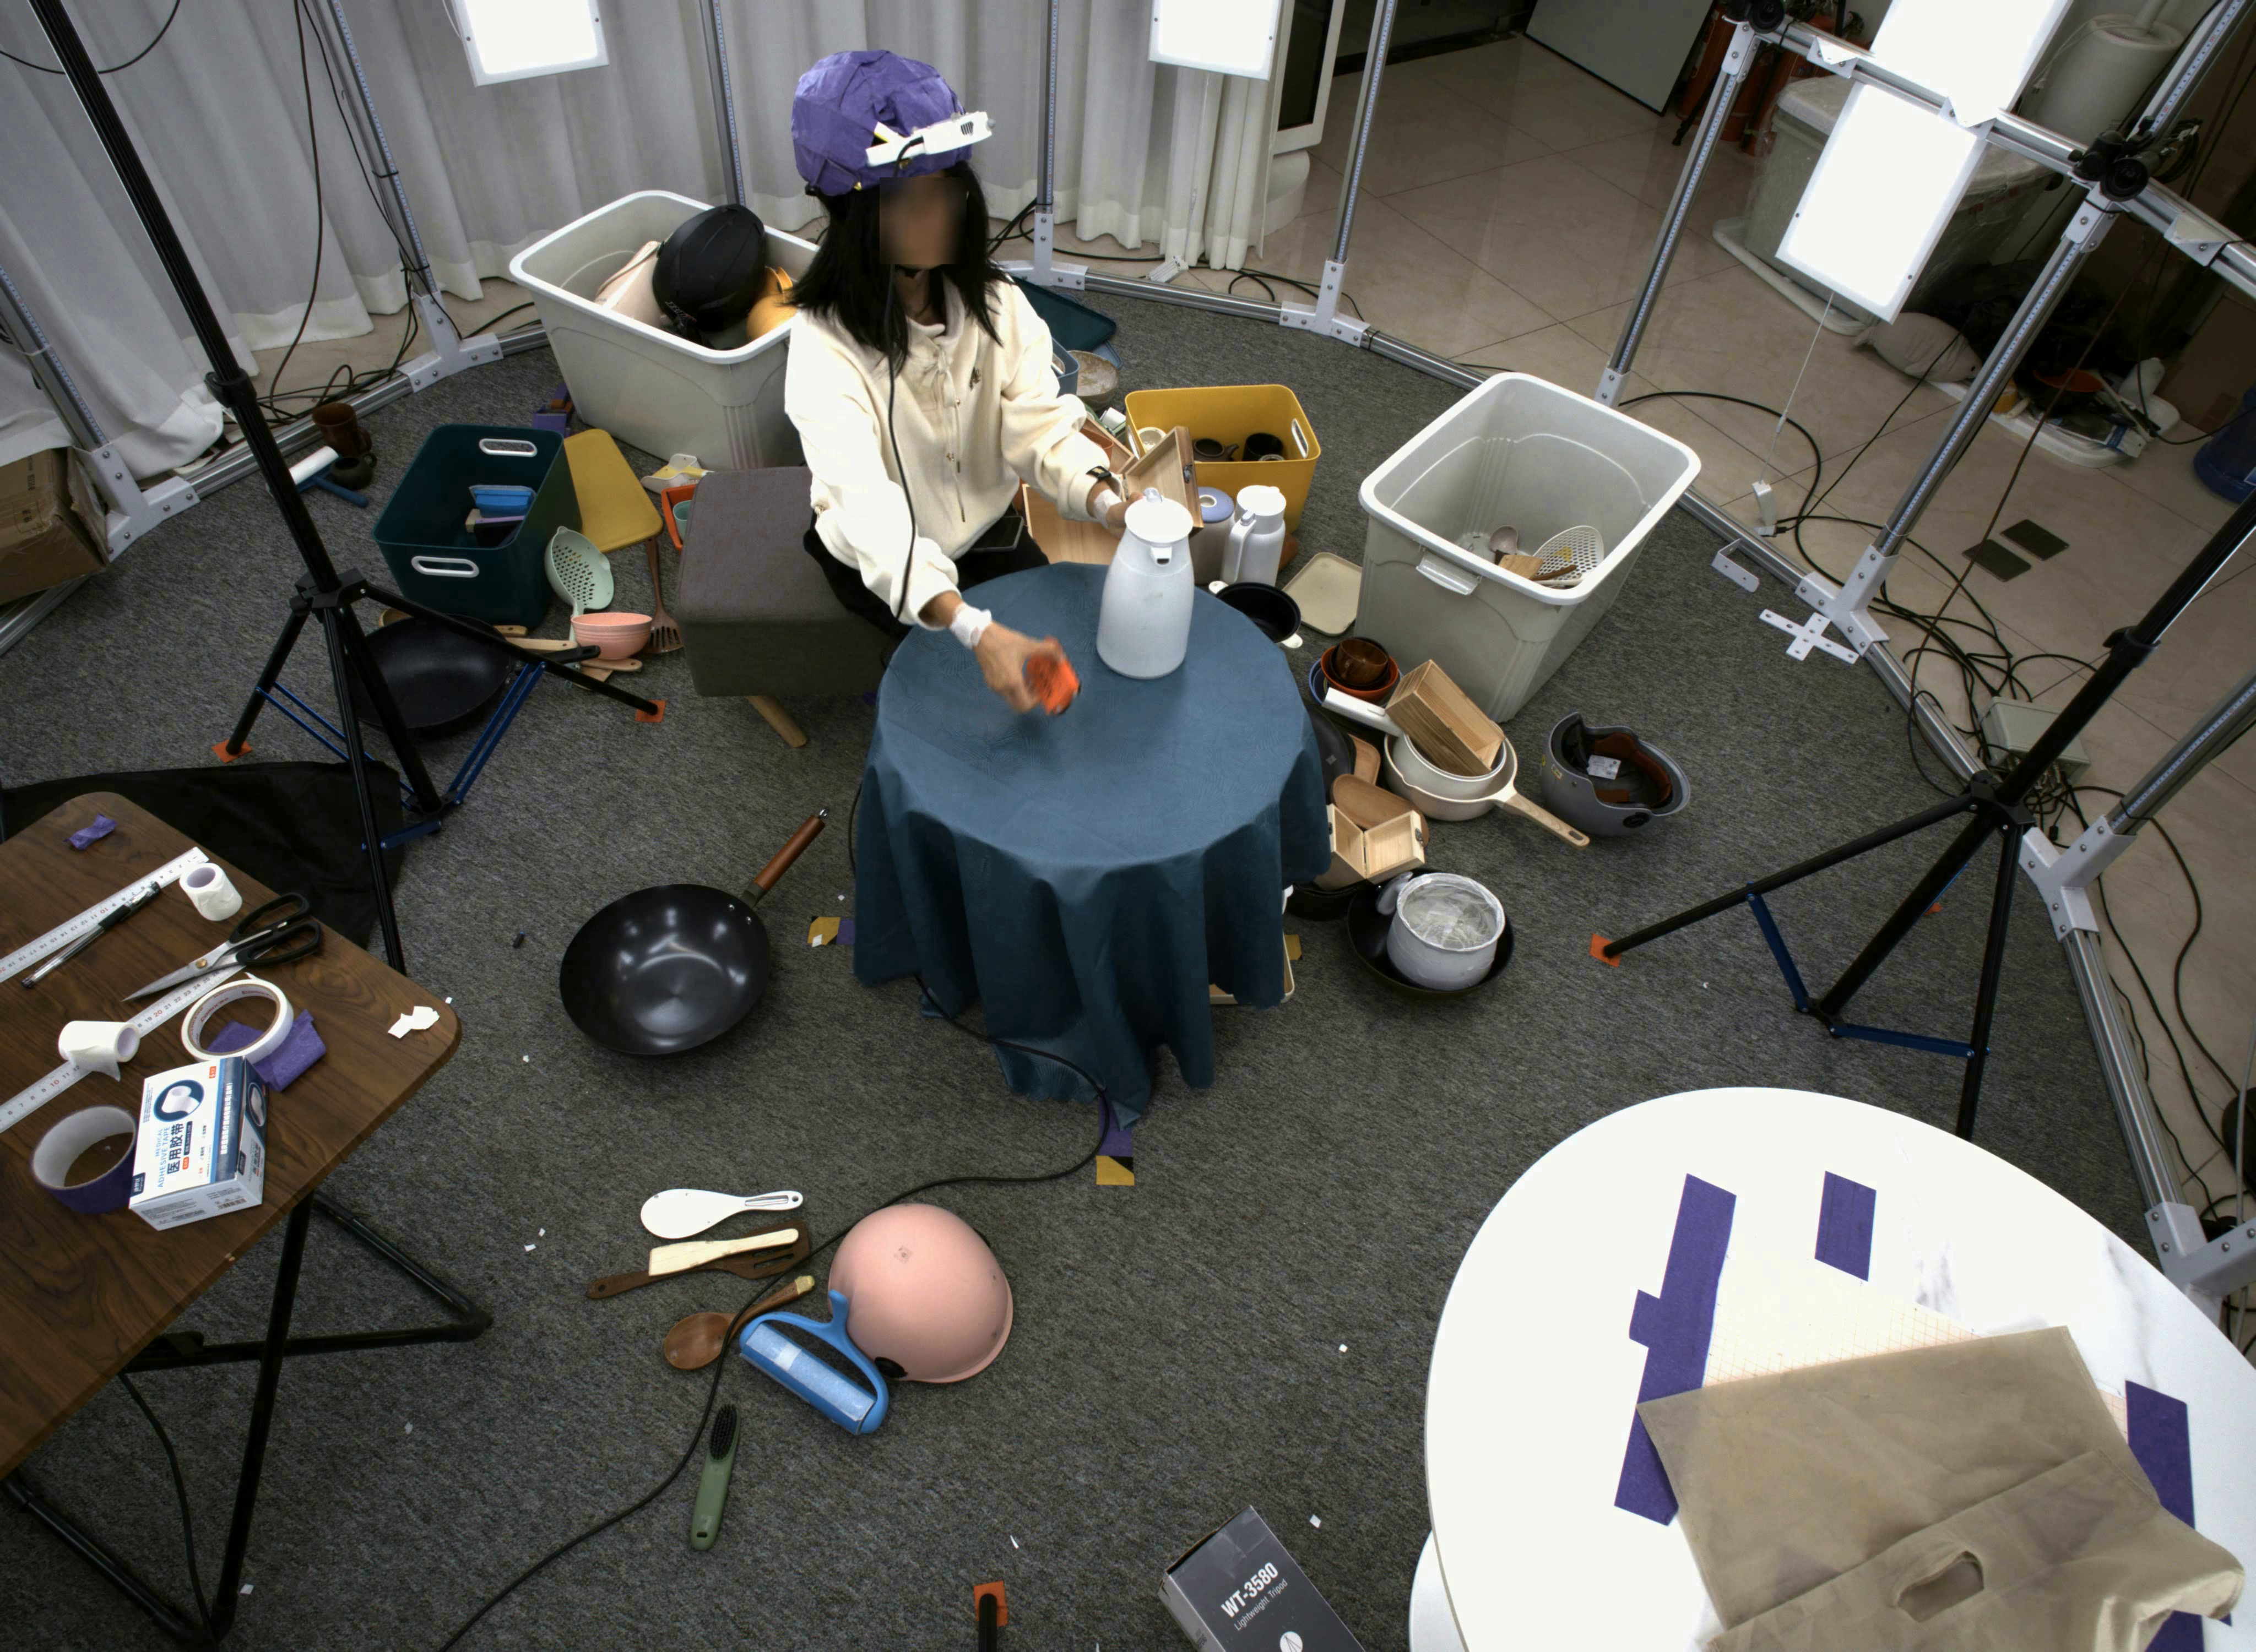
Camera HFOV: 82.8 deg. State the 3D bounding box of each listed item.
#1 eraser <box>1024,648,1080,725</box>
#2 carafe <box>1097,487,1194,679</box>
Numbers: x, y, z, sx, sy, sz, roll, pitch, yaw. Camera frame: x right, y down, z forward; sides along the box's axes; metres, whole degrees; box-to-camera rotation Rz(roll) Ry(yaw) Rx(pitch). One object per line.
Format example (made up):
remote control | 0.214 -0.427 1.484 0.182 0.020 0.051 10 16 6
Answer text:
eraser | -0.103 -0.190 1.739 0.022 0.058 0.110 24 28 -40
carafe | 0.027 -0.353 1.814 0.132 0.243 0.172 -3 51 -8
